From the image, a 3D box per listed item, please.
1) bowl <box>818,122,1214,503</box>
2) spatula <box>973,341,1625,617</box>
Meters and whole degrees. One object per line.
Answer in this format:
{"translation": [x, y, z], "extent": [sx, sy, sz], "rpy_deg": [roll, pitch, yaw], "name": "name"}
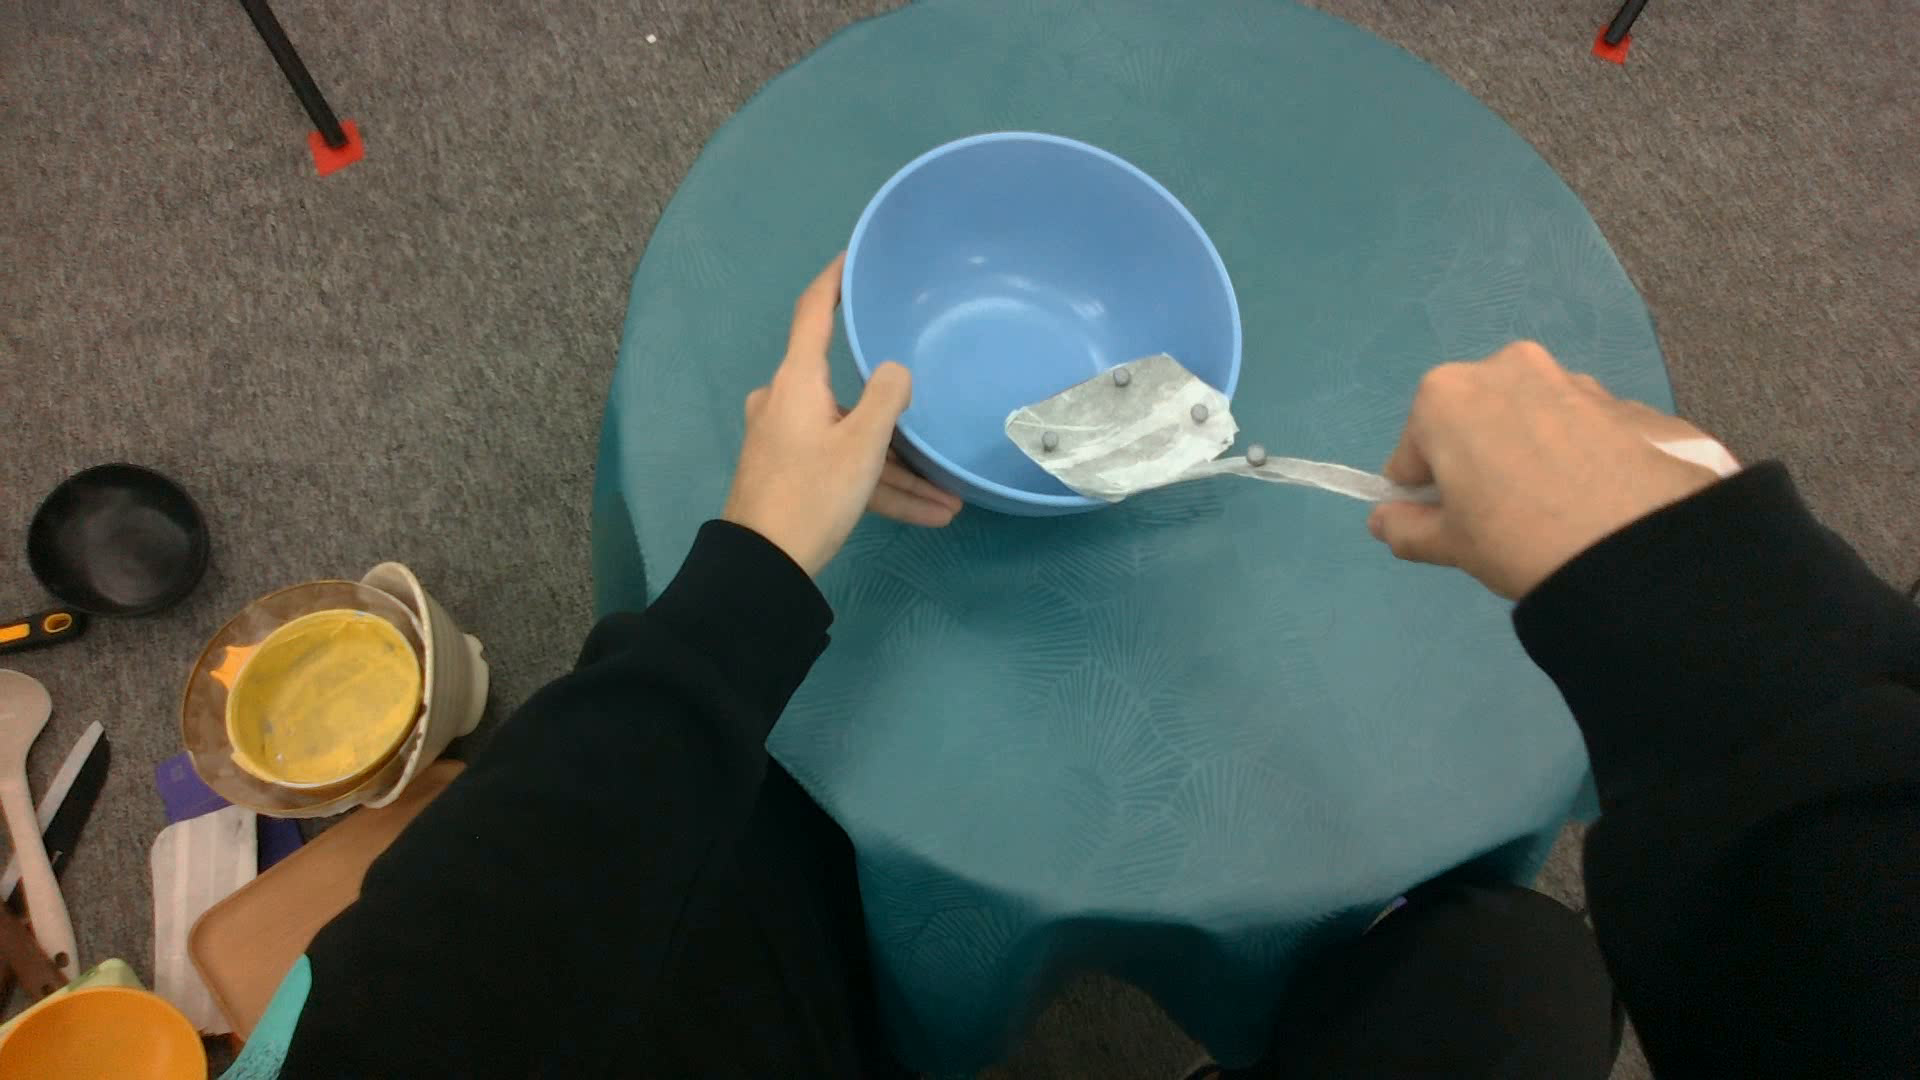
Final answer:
{"translation": [0.019, -0.100, 0.694], "extent": [0.197, 0.095, 0.197], "rpy_deg": [5, 69, -14], "name": "bowl"}
{"translation": [0.114, -0.035, 0.532], "extent": [0.099, 0.365, 0.044], "rpy_deg": [-23, 108, -16], "name": "spatula"}
